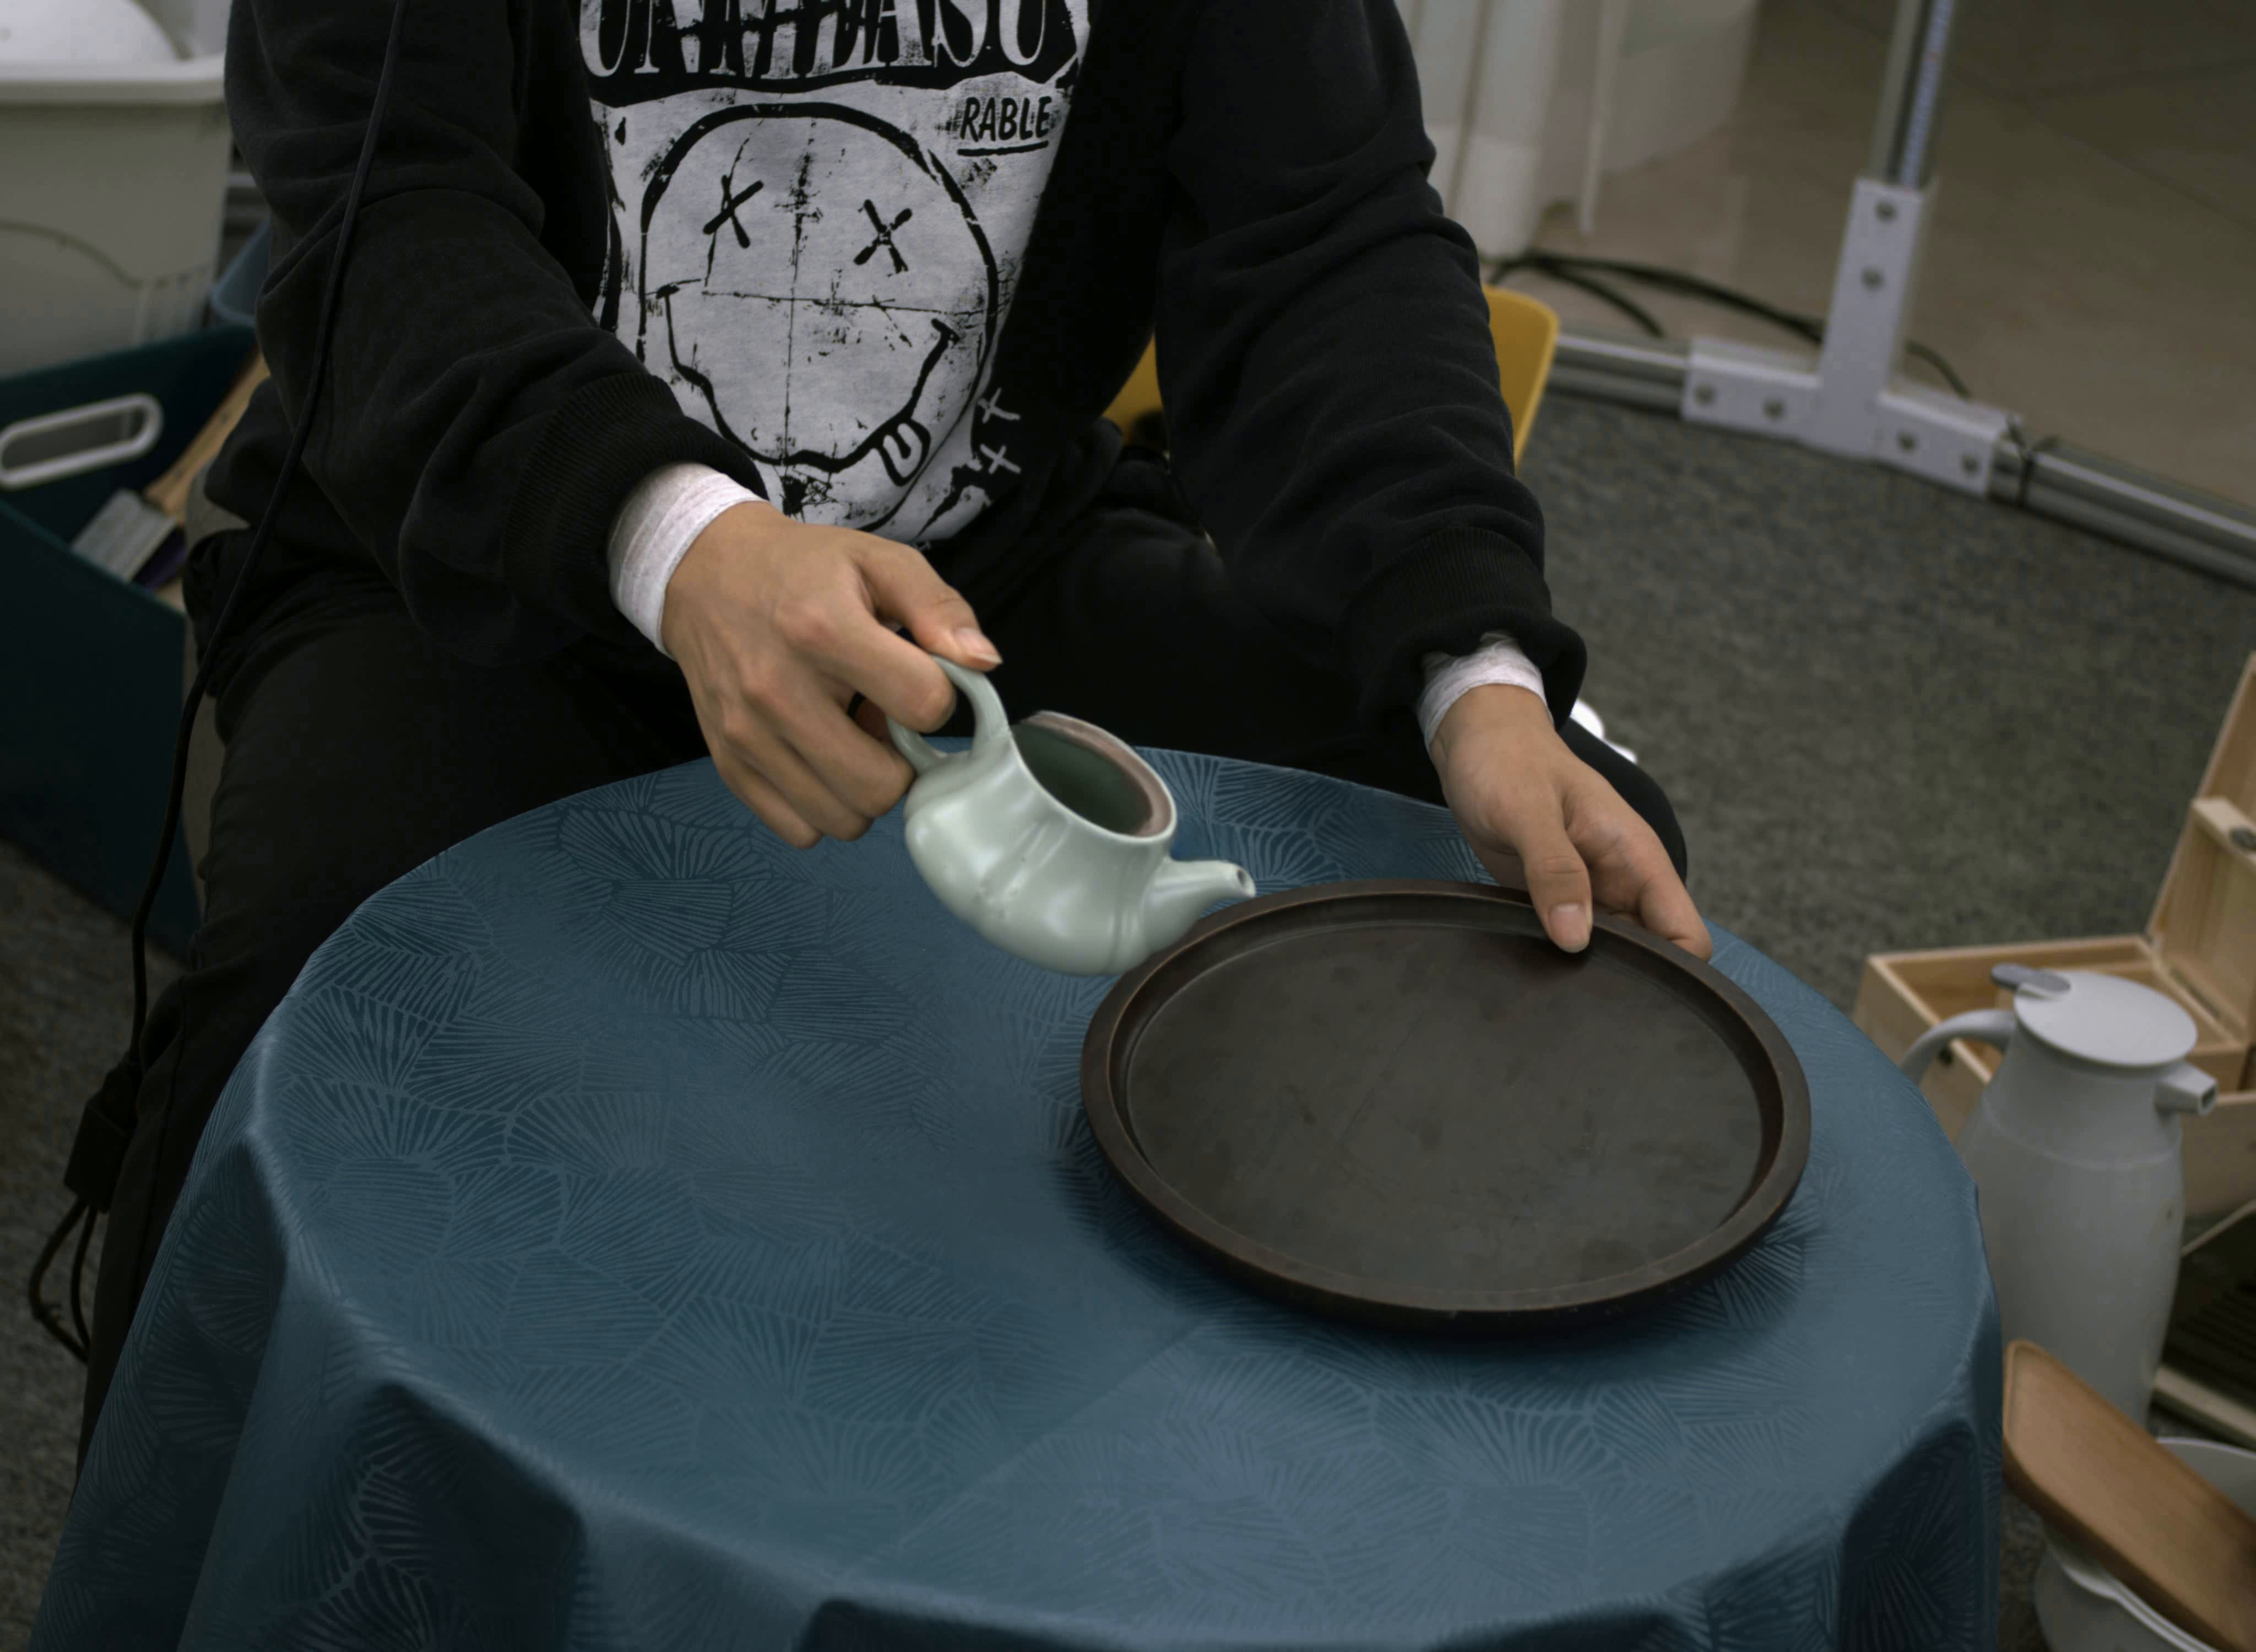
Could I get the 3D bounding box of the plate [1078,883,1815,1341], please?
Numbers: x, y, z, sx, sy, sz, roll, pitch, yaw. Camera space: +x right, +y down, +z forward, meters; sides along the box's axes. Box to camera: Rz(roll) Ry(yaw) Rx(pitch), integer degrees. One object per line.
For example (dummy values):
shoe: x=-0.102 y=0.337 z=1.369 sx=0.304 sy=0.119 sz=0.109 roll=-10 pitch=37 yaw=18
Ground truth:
plate: x=0.109 y=0.096 z=1.829 sx=0.254 sy=0.029 sz=0.256 roll=2 pitch=34 yaw=-1

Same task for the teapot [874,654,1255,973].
teapot: x=-0.029 y=-0.001 z=1.734 sx=0.137 sy=0.061 sz=0.096 roll=35 pitch=30 yaw=2
